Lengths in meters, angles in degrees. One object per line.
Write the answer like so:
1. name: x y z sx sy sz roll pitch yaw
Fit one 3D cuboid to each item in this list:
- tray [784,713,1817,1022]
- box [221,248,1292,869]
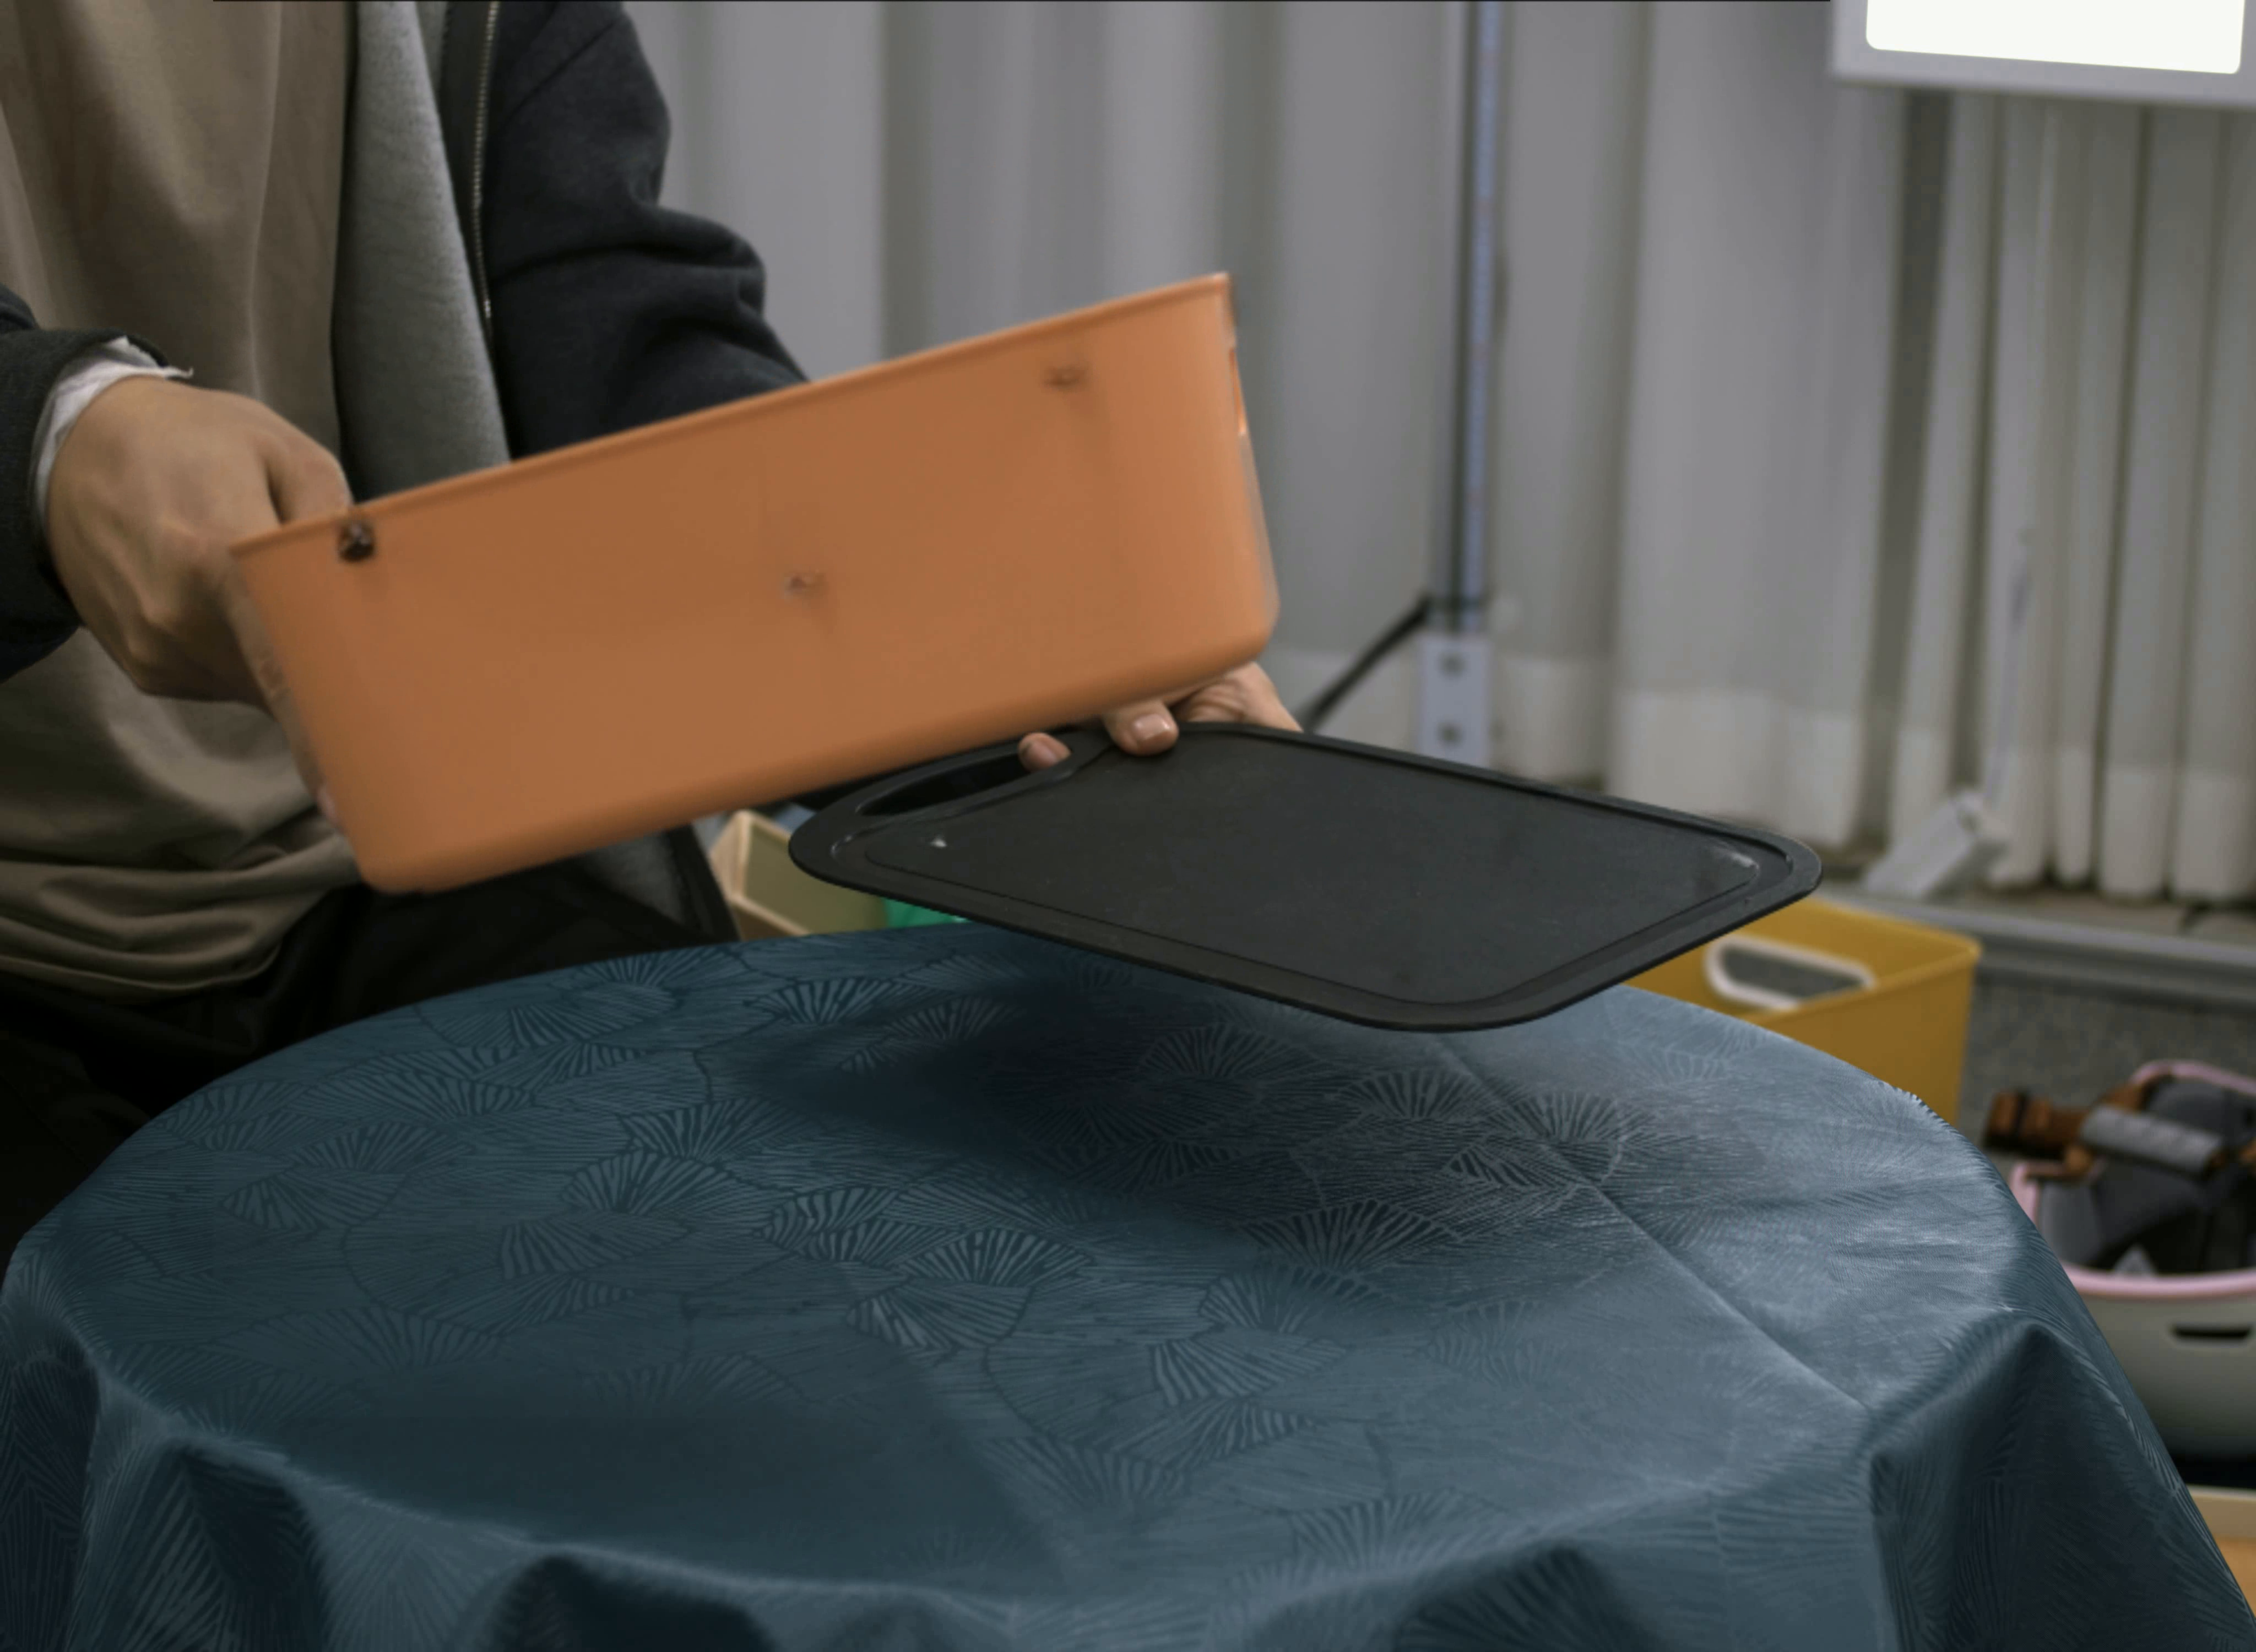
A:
1. tray: 0.045 0.007 1.692 0.321 0.010 0.212 14 24 39
2. box: -0.087 -0.070 1.400 0.272 0.103 0.199 -14 5 4
